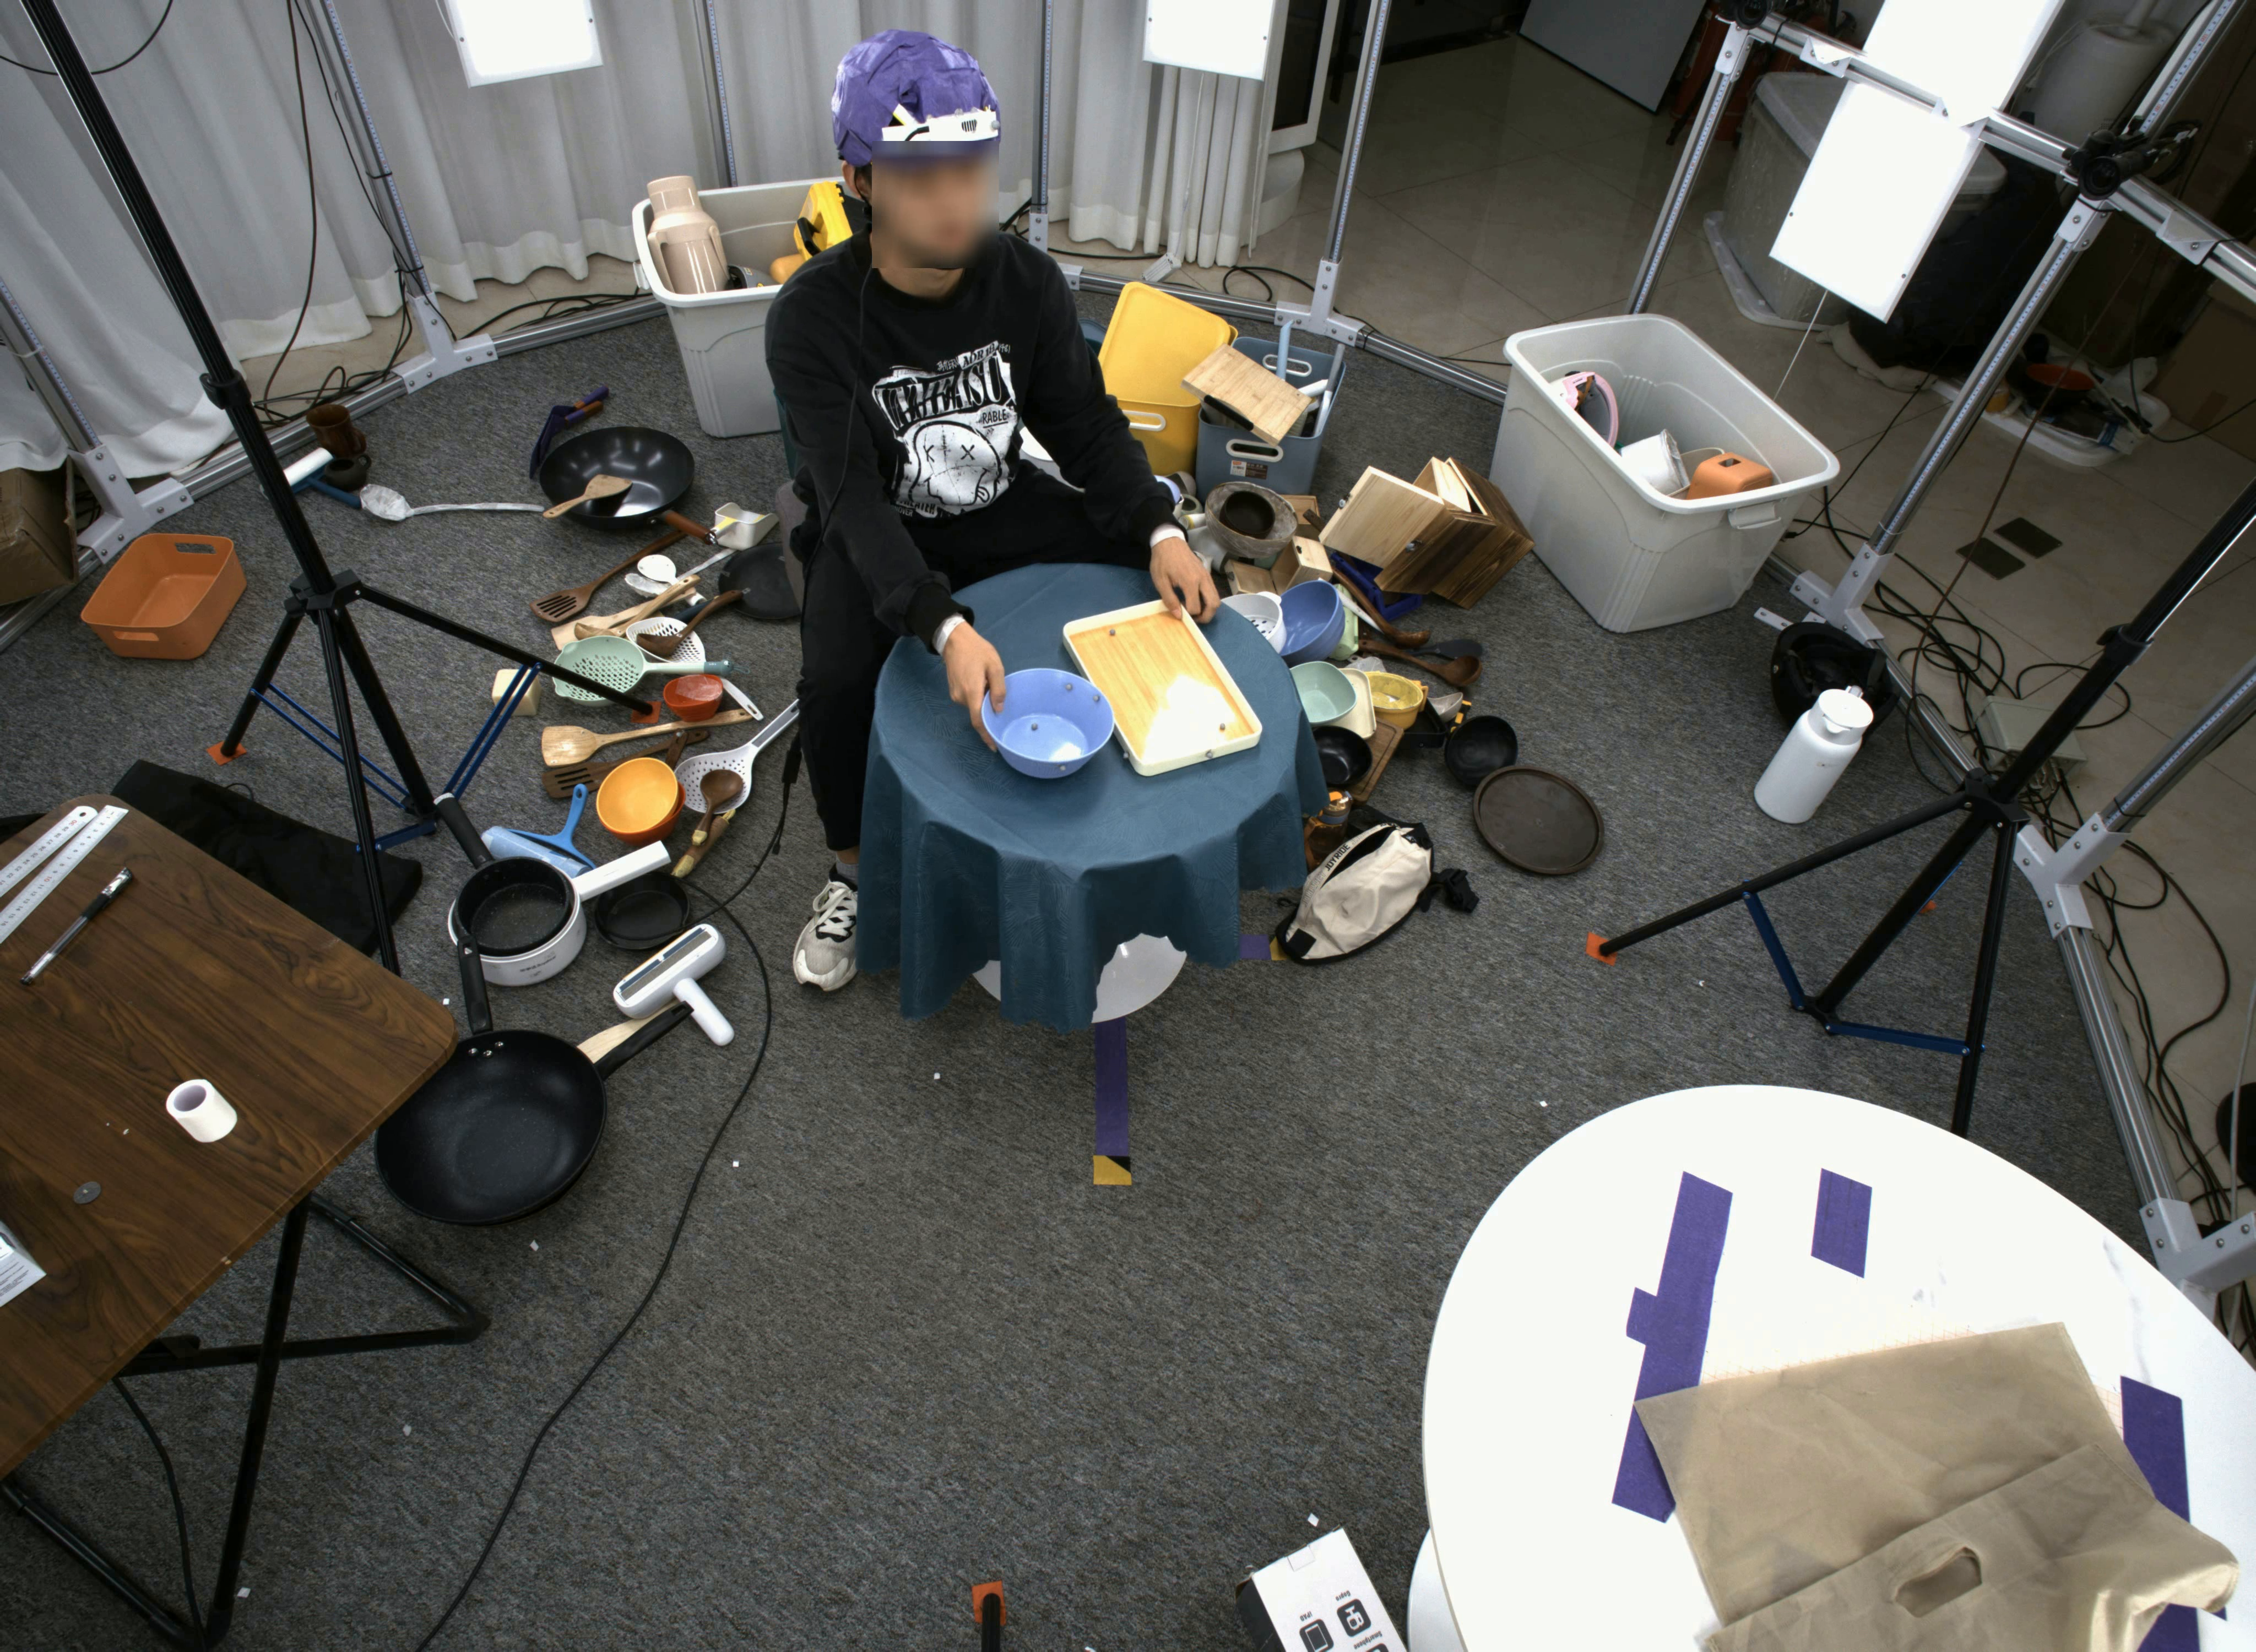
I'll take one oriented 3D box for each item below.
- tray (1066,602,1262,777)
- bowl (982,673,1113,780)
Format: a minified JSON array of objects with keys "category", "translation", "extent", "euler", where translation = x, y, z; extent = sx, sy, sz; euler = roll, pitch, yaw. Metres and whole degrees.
[{"category":"tray","translation":[0.047,-0.203,1.847],"extent":[0.192,0.027,0.307],"euler":[-16,52,-16]},{"category":"bowl","translation":[-0.111,-0.125,1.733],"extent":[0.176,0.068,0.180],"euler":[5,47,-6]}]
